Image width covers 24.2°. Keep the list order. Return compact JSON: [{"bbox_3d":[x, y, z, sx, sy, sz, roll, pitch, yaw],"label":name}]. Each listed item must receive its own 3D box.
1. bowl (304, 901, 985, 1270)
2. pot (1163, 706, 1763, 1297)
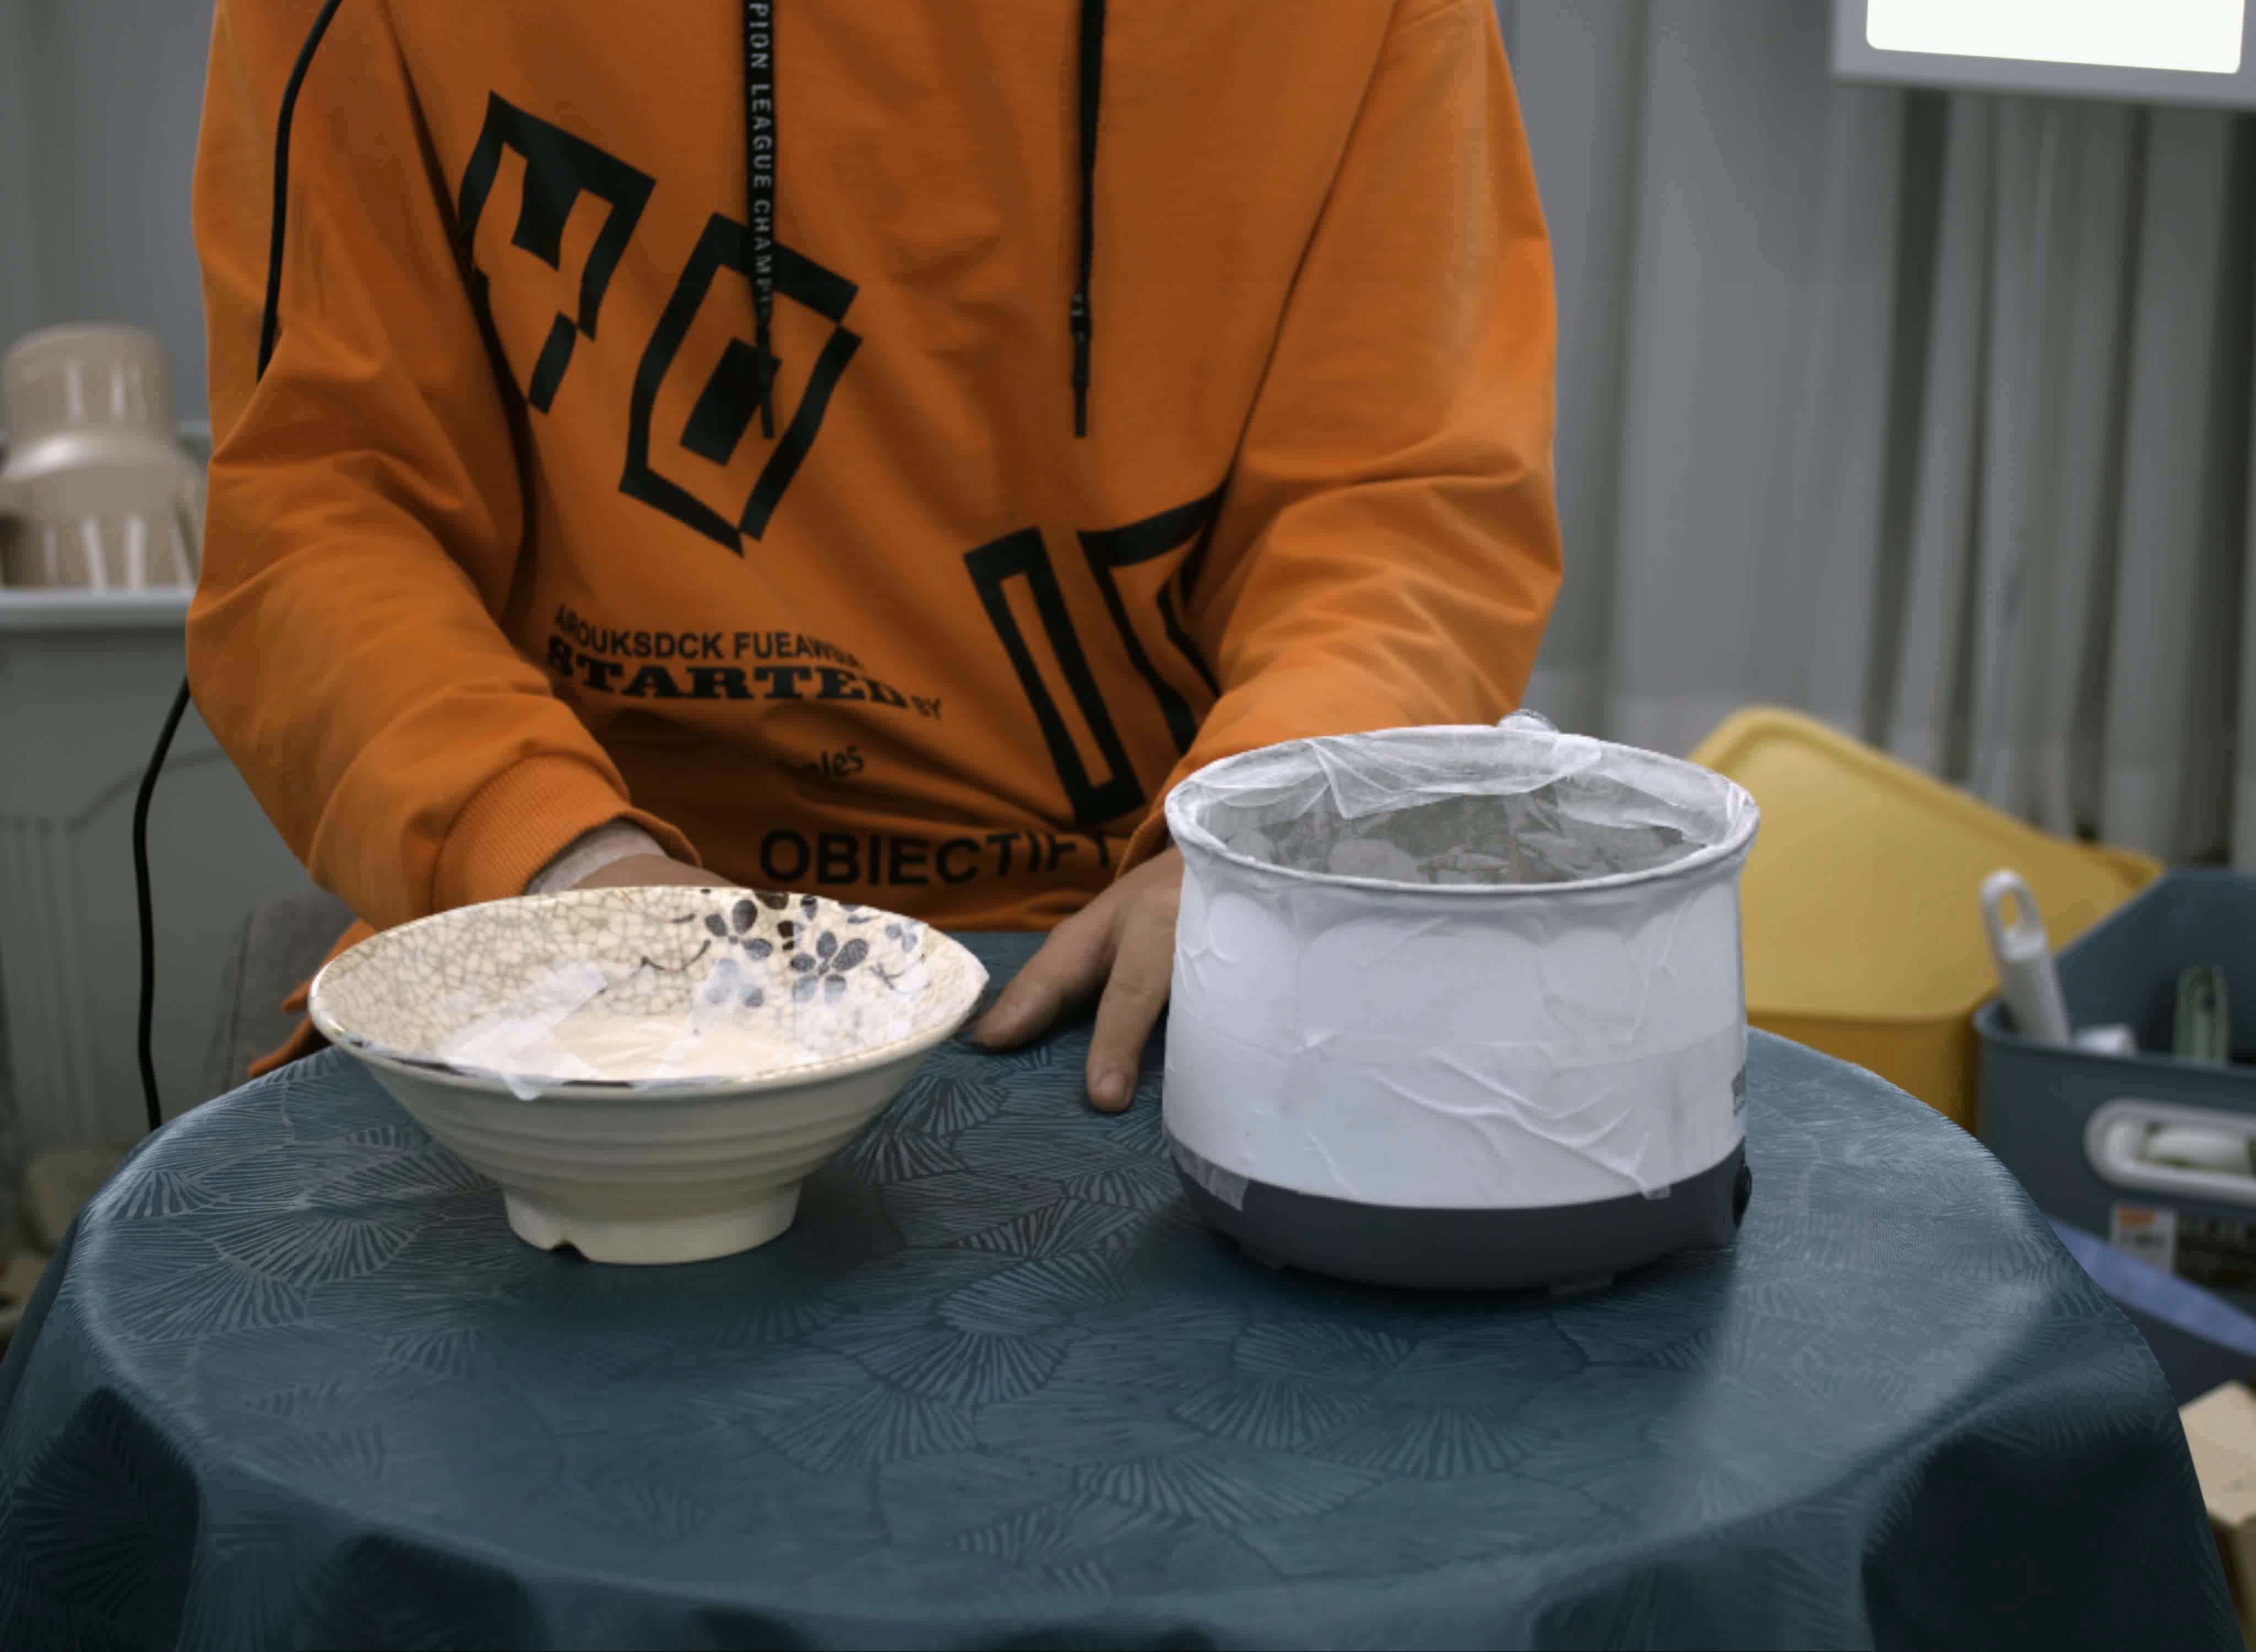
[{"bbox_3d":[-0.144,0.083,1.583,0.203,0.078,0.203,0,13,1],"label":"bowl"},{"bbox_3d":[0.105,0.047,1.604,0.177,0.138,0.233,4,17,12],"label":"pot"}]
